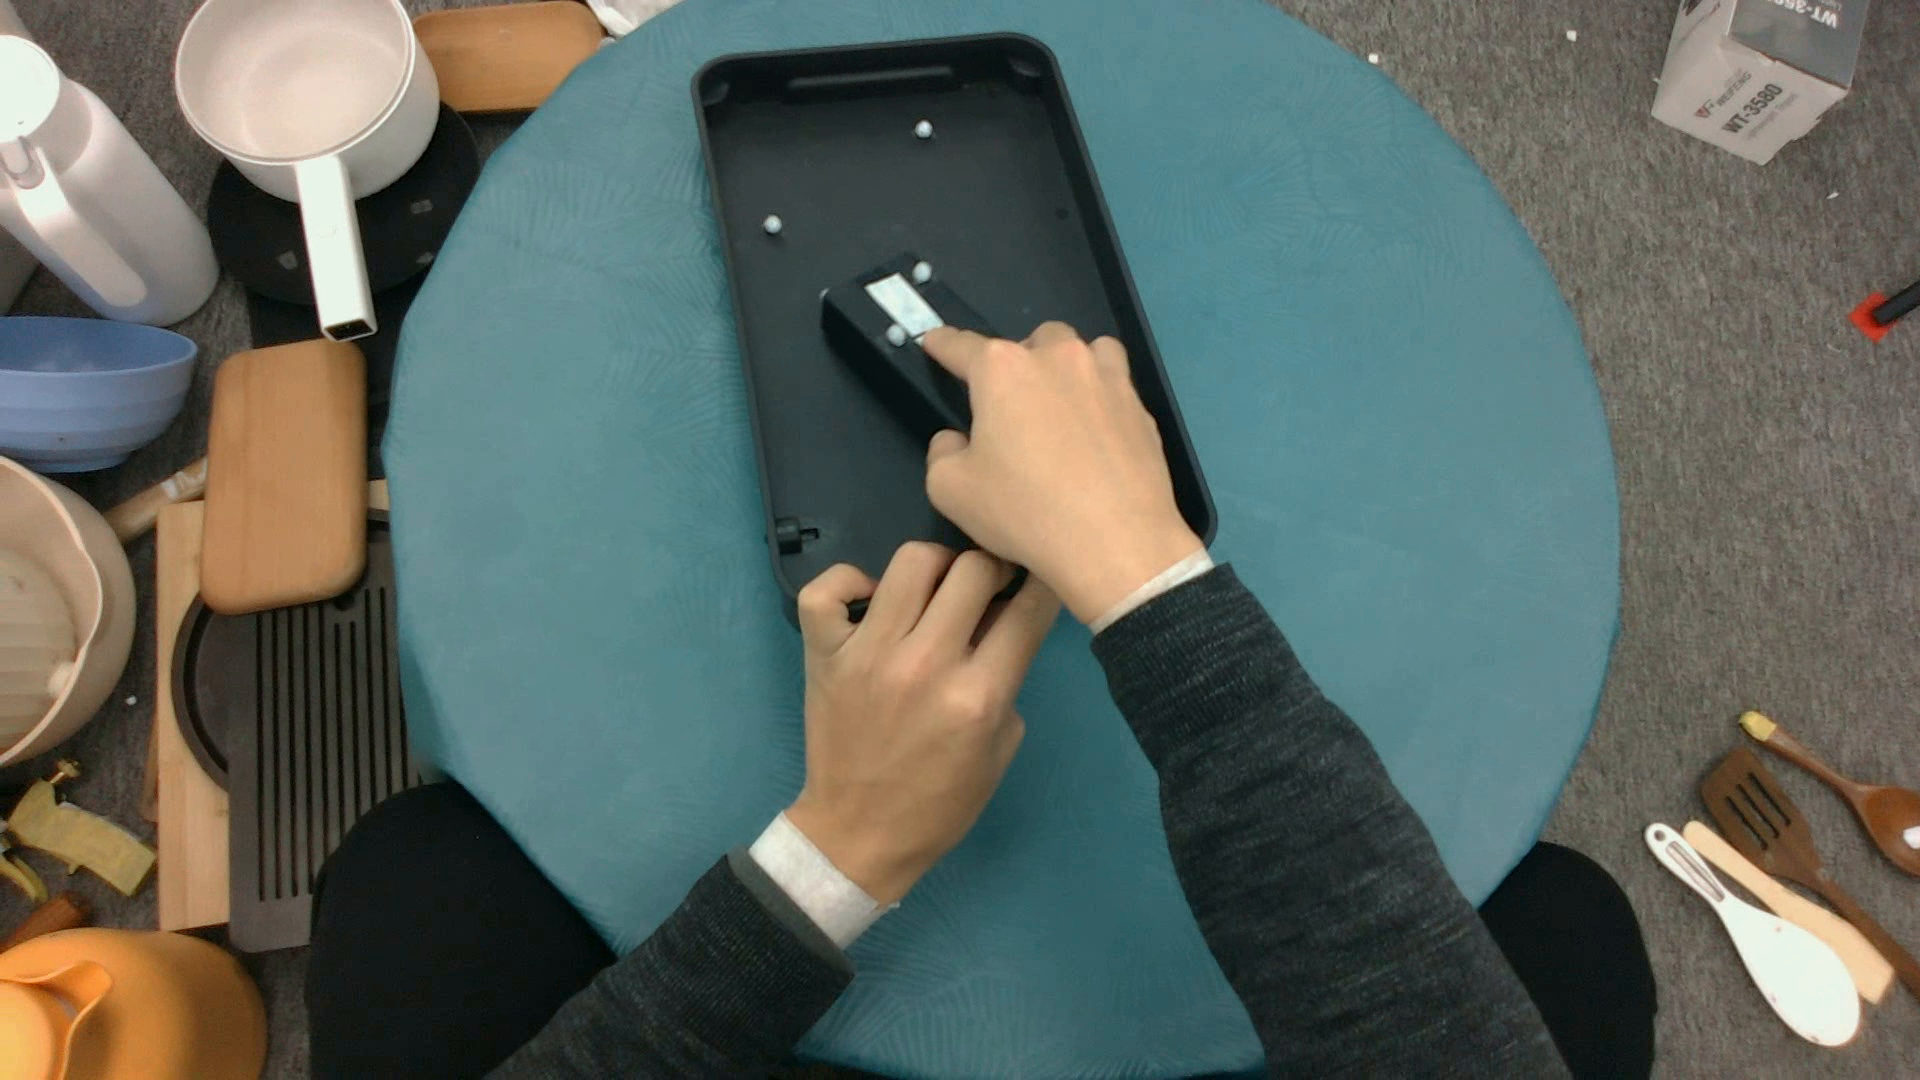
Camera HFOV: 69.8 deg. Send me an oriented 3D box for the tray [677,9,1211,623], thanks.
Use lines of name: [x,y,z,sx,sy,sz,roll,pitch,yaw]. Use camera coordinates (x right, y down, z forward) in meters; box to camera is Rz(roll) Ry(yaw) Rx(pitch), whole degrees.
tray: [-0.018,-0.118,0.632,0.184,0.037,0.319,-9,61,-11]

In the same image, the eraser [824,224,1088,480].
eraser: [-0.004,-0.085,0.608,0.053,0.030,0.125,-33,65,-20]
